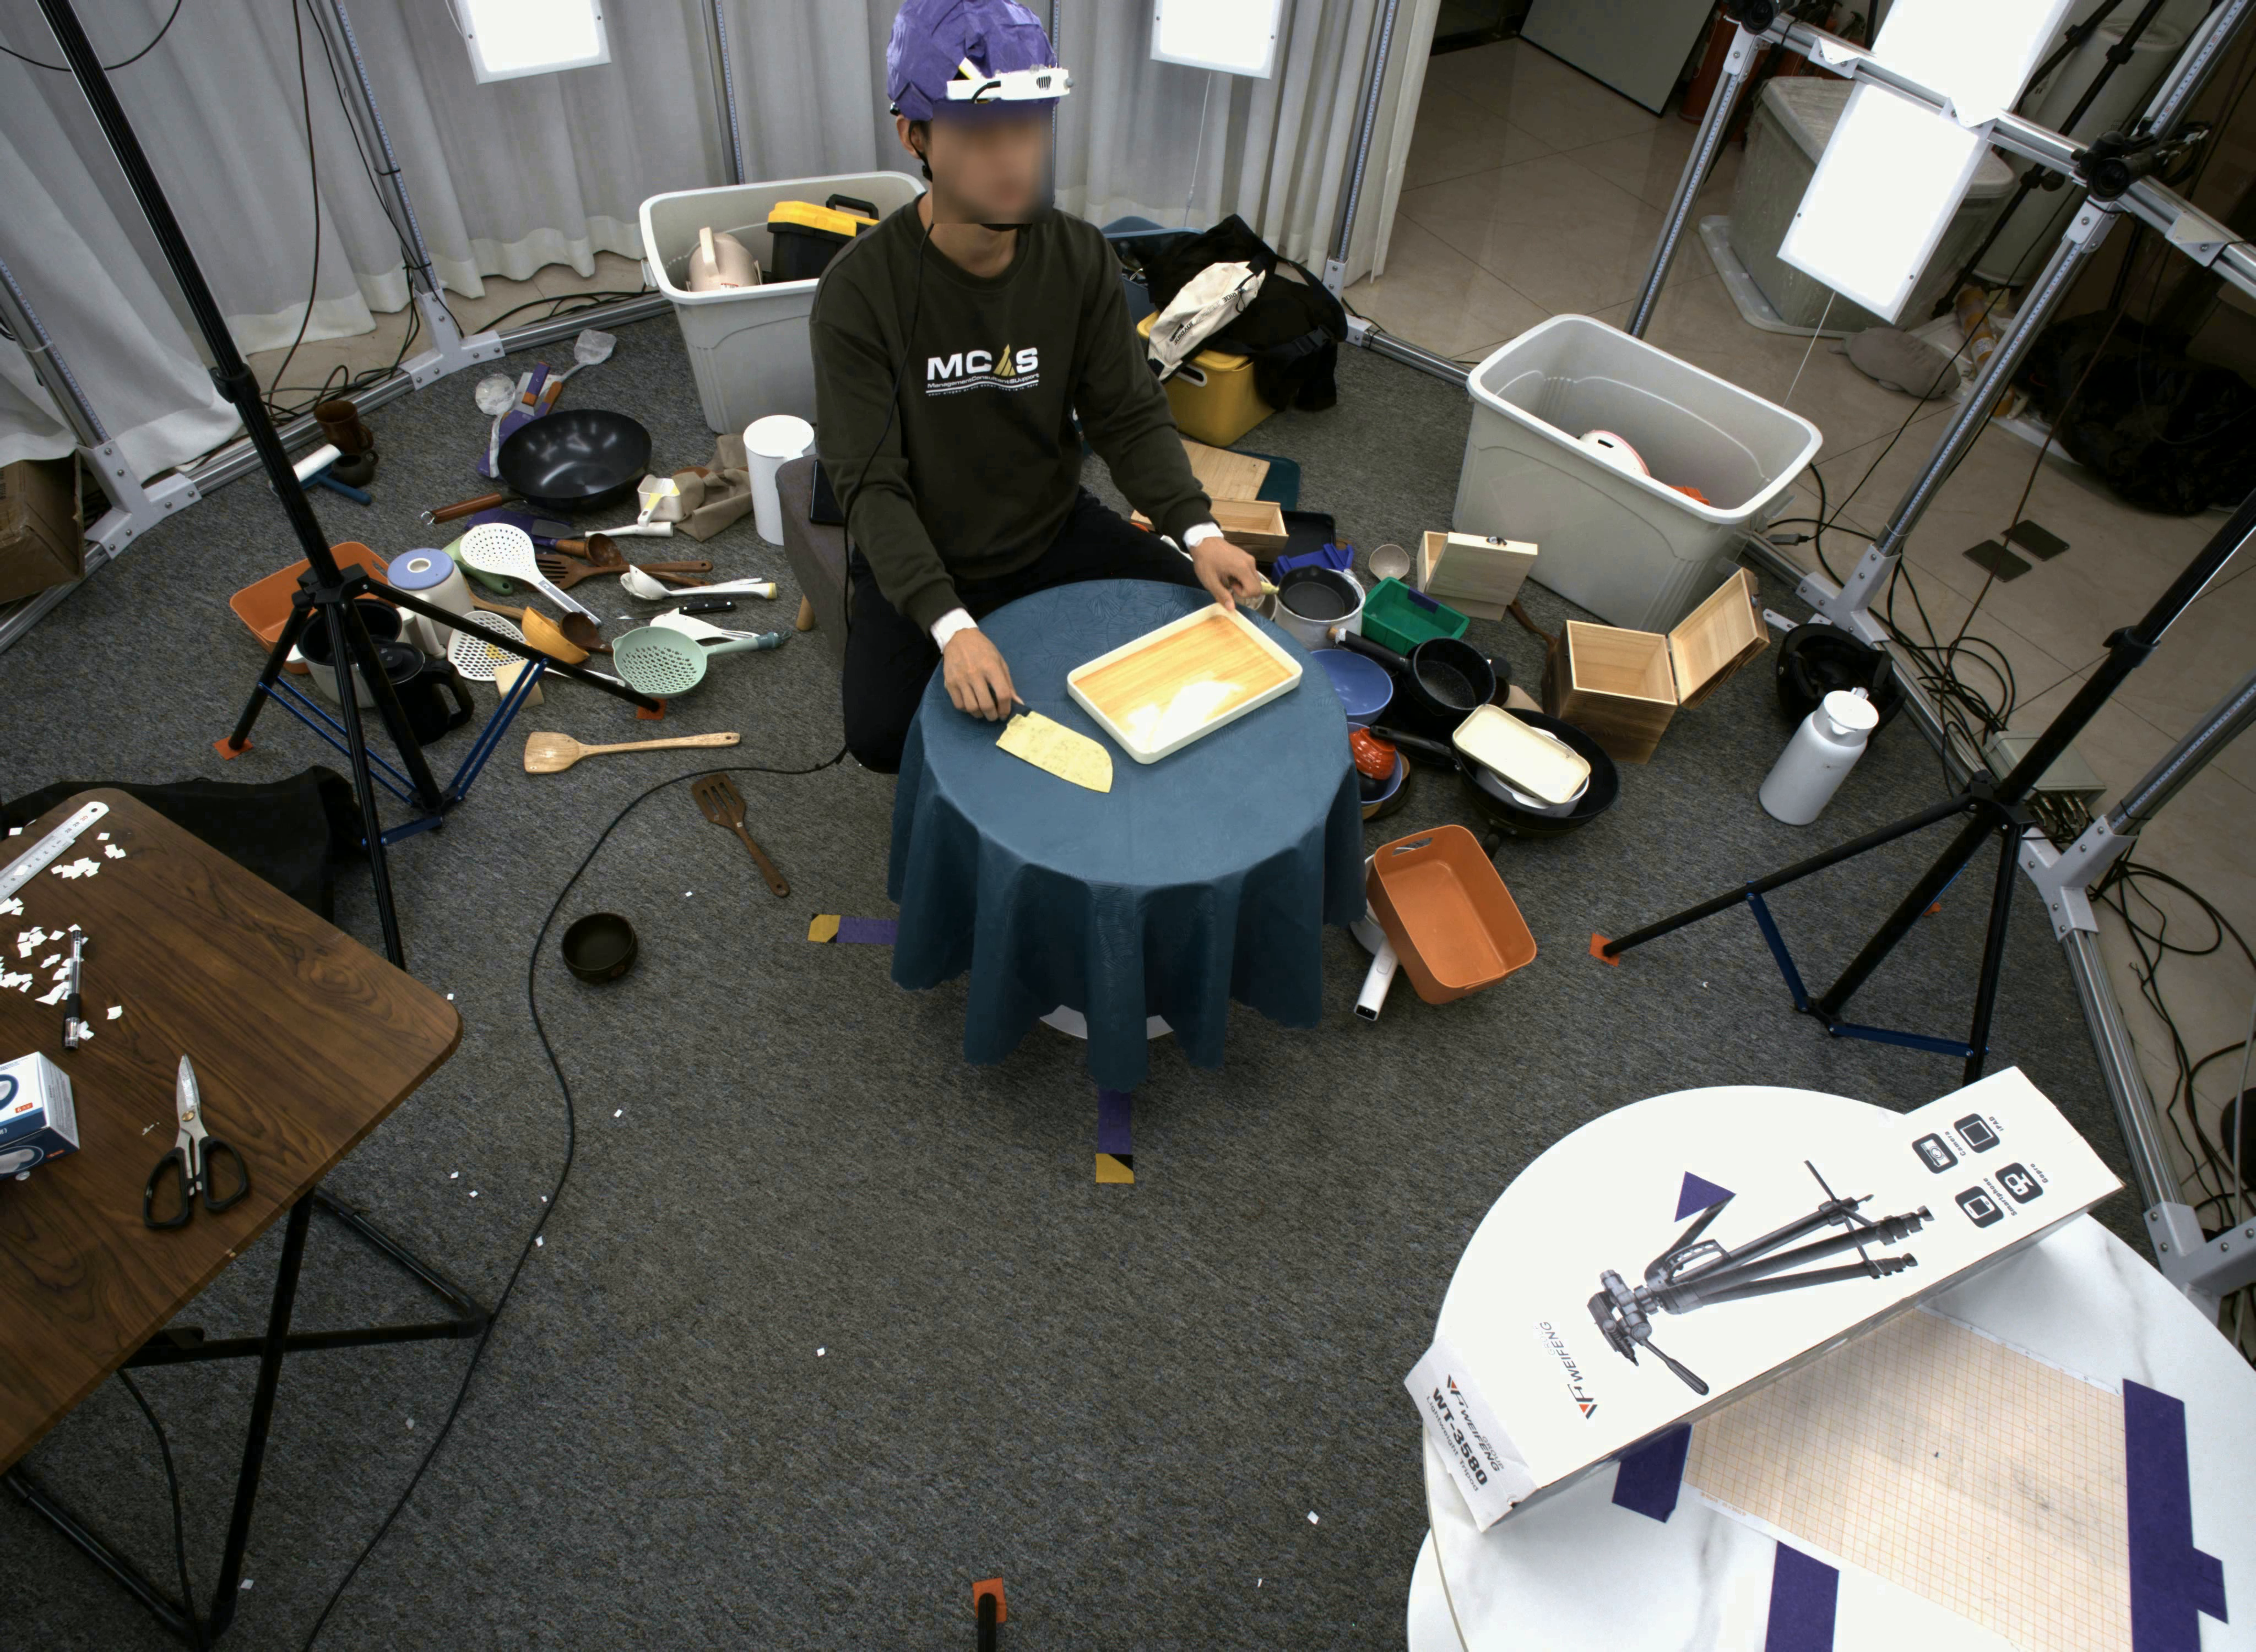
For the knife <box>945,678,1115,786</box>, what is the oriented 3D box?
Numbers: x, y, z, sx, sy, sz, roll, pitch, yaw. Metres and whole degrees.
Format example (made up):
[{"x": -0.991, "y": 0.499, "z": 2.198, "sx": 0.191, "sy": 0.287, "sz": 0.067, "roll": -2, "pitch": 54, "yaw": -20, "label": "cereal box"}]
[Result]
[{"x": -0.140, "y": -0.129, "z": 1.755, "sx": 0.292, "sy": 0.026, "sz": 0.082, "roll": 29, "pitch": 62, "yaw": 19, "label": "knife"}]

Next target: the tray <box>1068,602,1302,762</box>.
[{"x": 0.082, "y": -0.212, "z": 1.839, "sx": 0.302, "sy": 0.027, "sz": 0.195, "roll": -28, "pitch": 56, "yaw": -25, "label": "tray"}]
